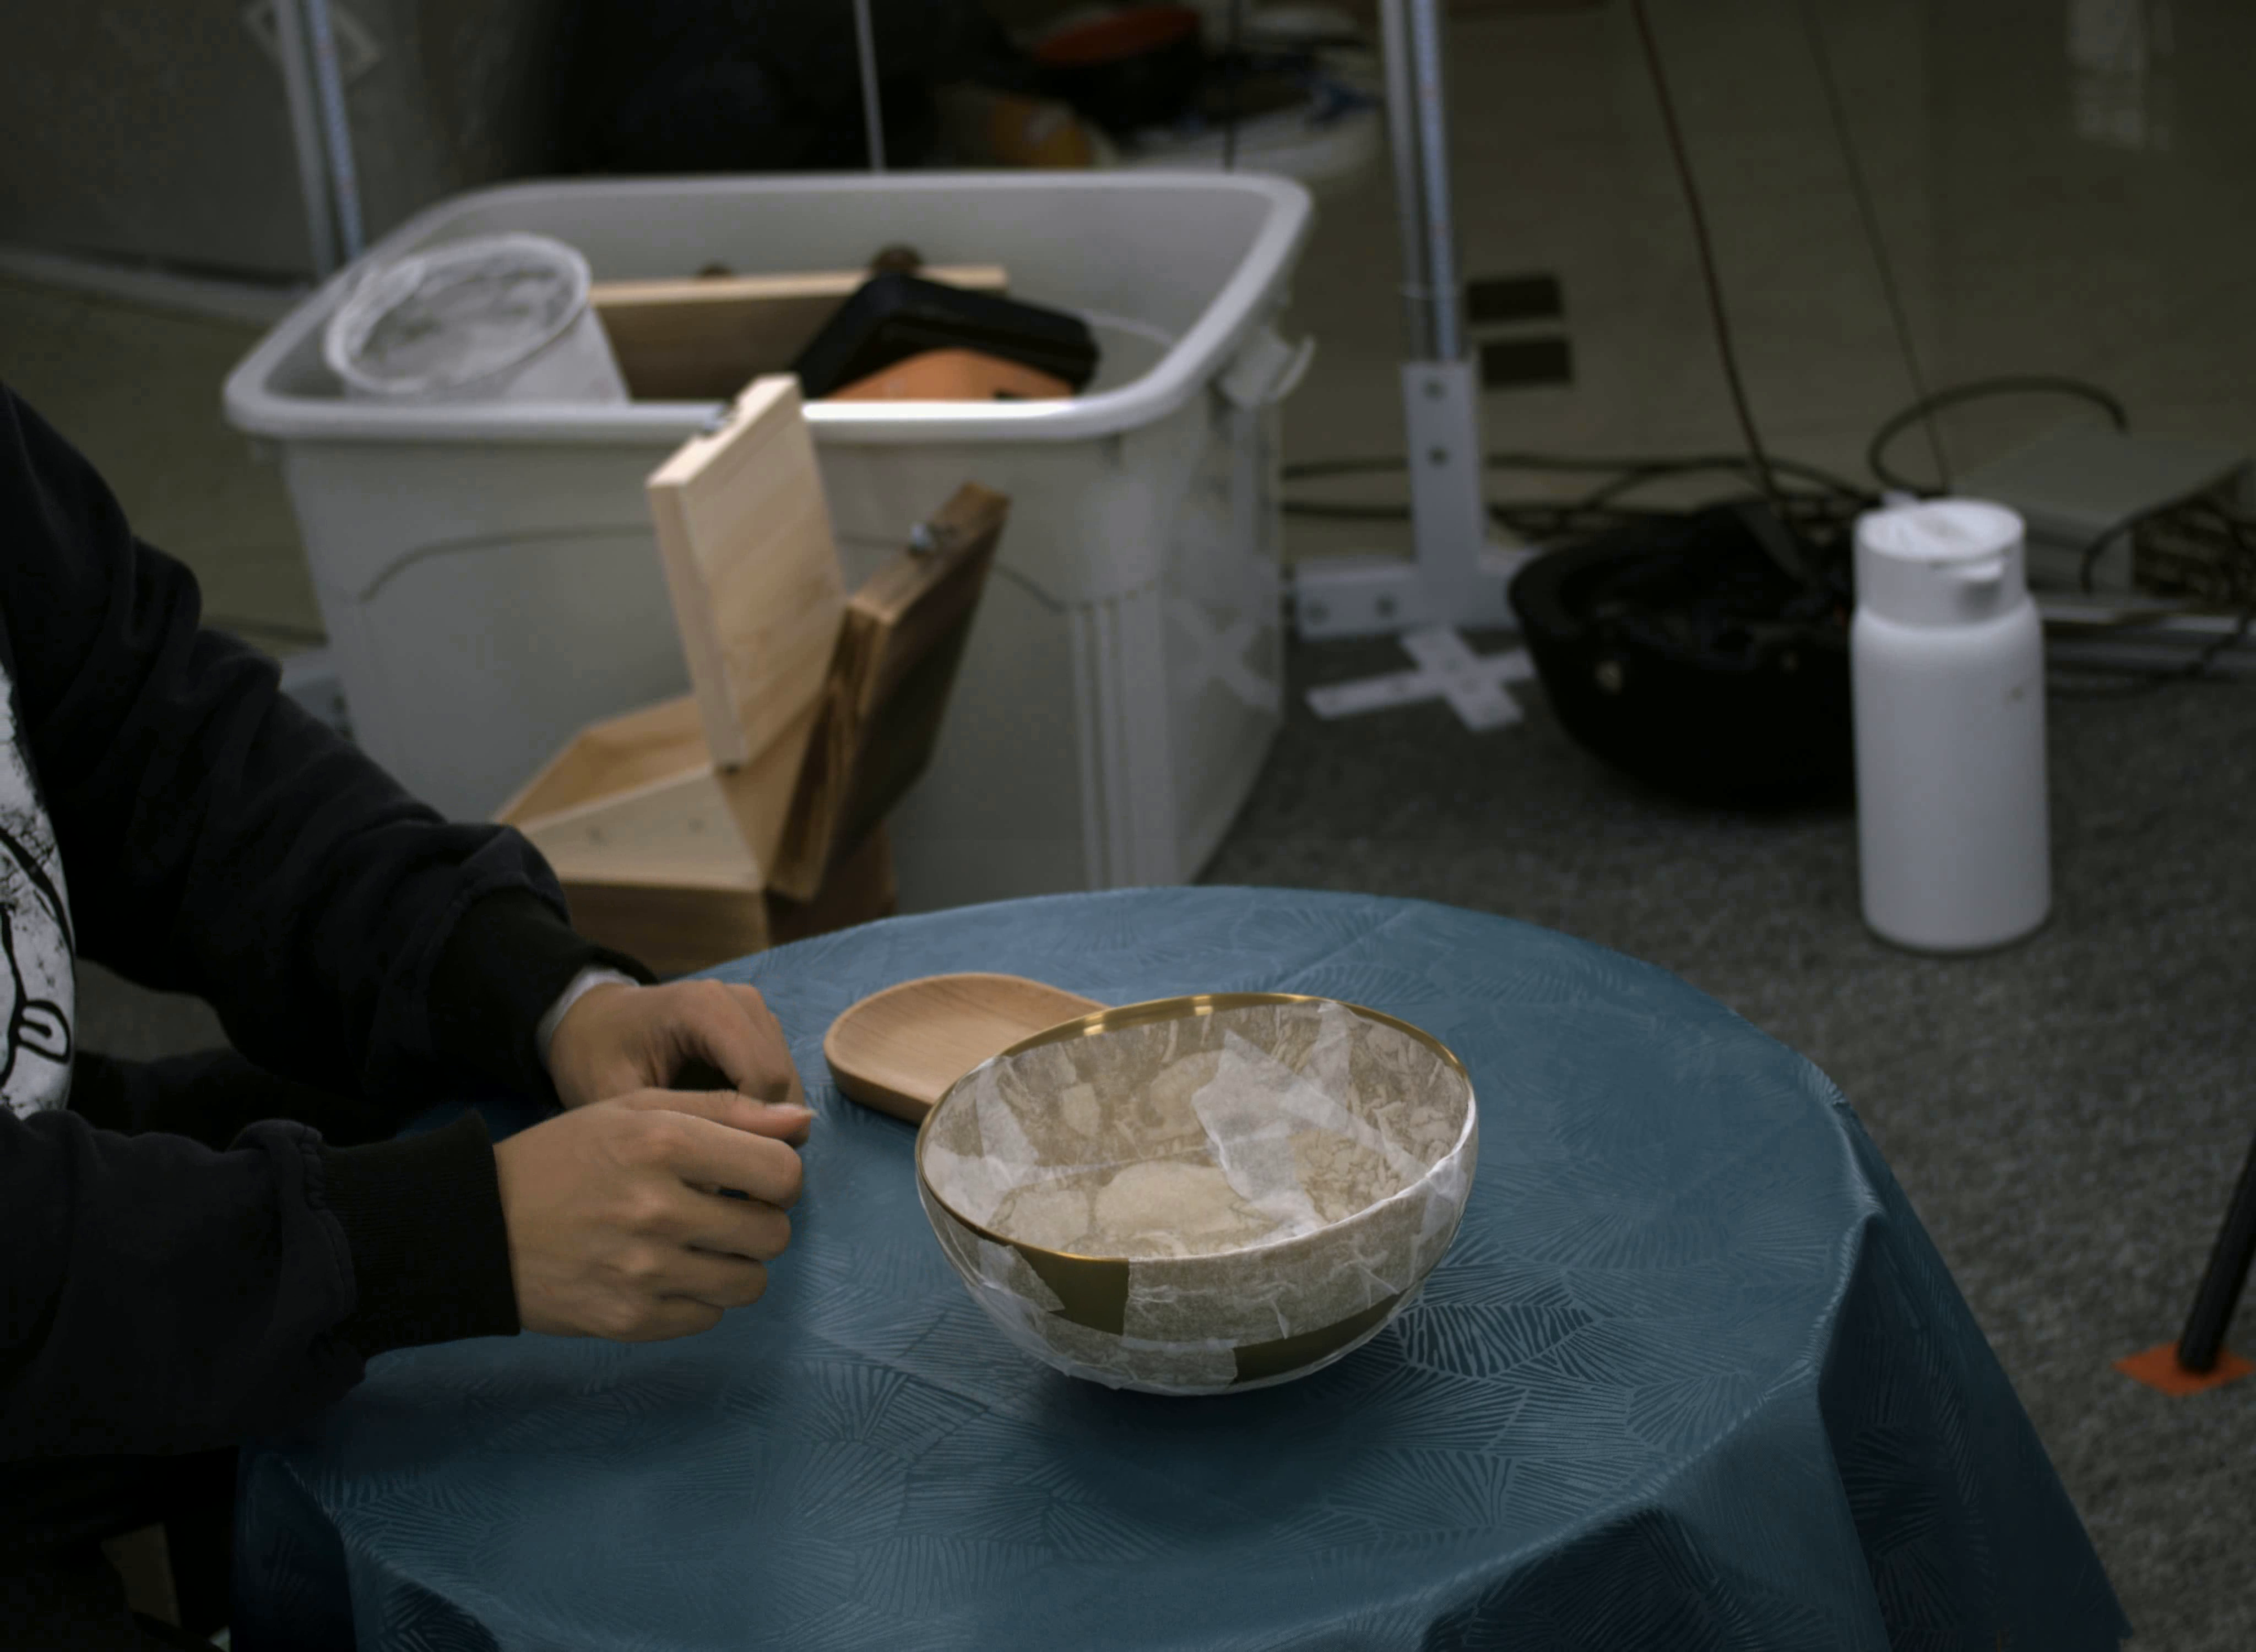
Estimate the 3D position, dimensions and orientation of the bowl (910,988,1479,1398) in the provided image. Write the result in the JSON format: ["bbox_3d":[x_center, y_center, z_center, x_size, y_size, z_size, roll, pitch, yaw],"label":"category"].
[{"bbox_3d":[0.027,0.142,2.028,0.214,0.096,0.211,-6,26,3],"label":"bowl"}]

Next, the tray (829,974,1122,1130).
[{"bbox_3d":[-0.020,0.103,2.218,0.229,0.020,0.100,18,37,39],"label":"tray"}]
